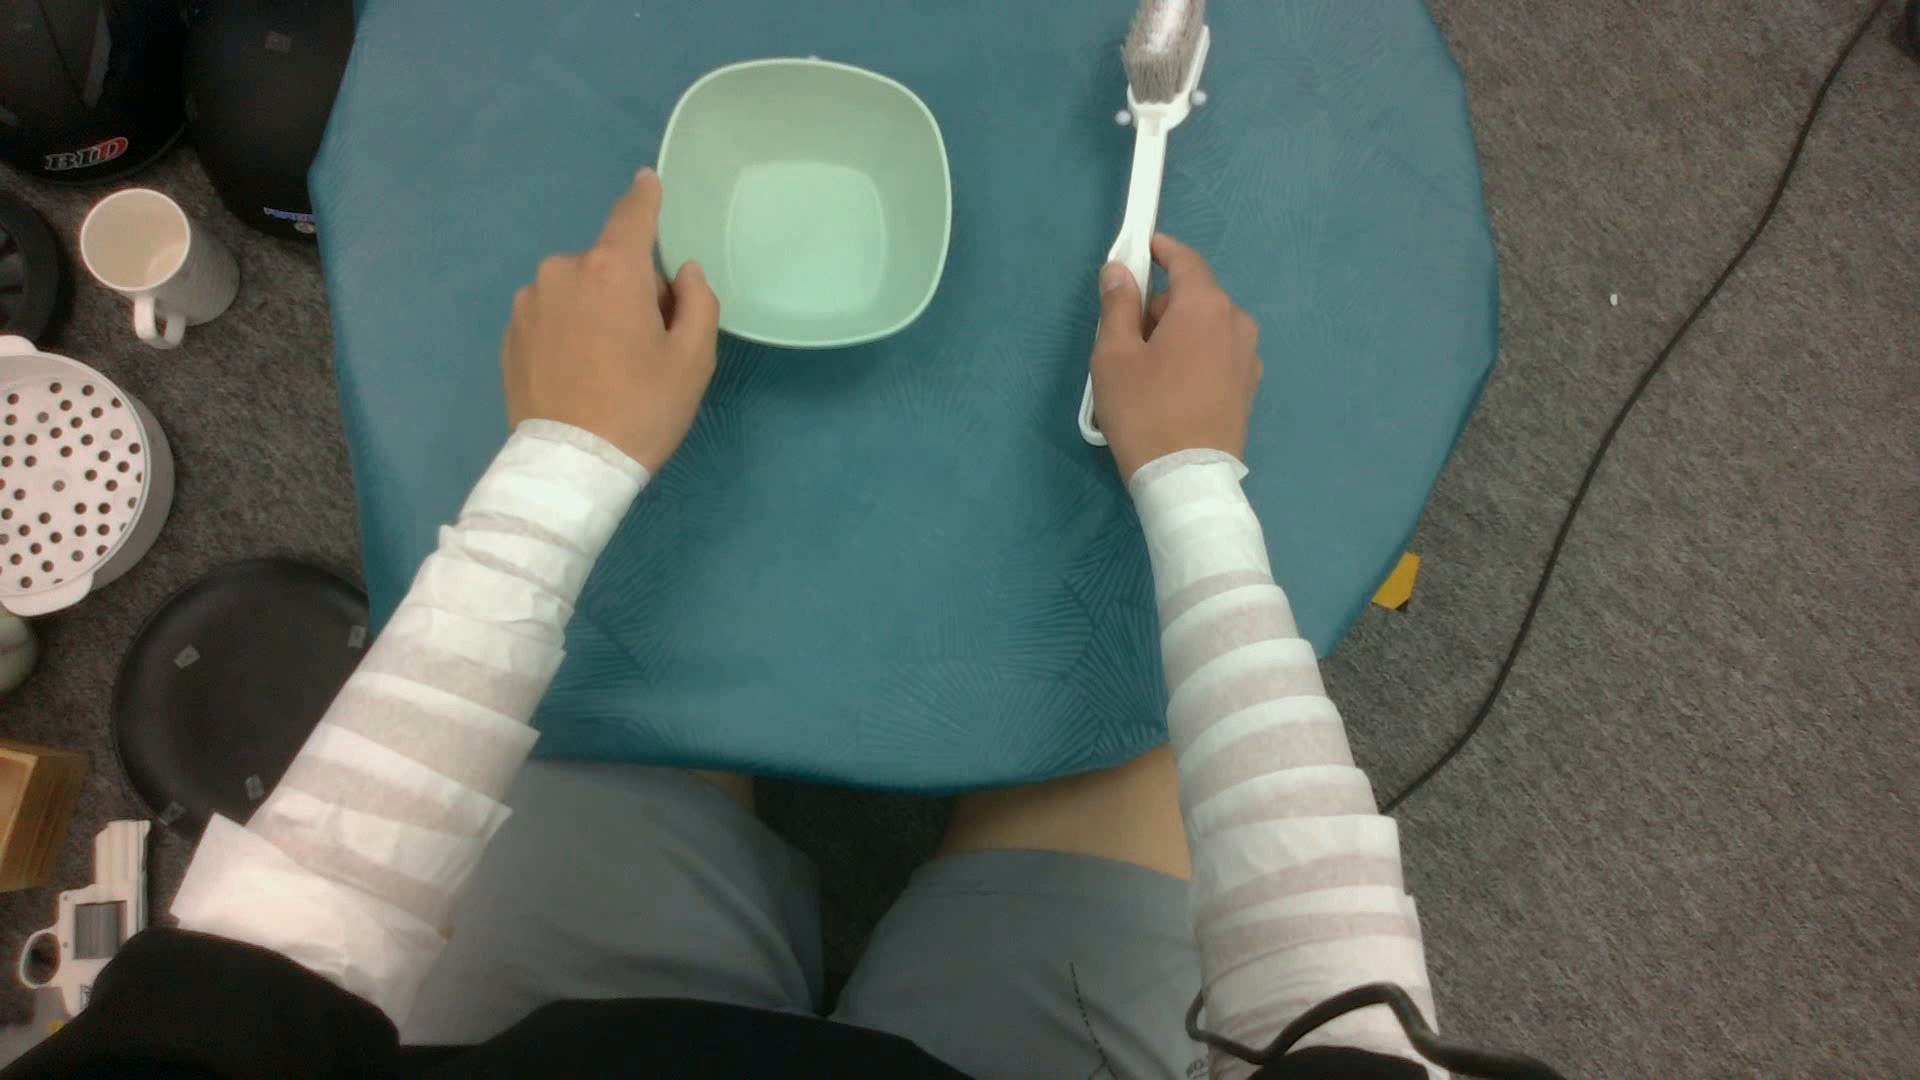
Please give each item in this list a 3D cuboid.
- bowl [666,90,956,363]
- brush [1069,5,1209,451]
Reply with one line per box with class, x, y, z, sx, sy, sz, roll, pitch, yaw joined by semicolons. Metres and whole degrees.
bowl;-0.073;-0.148;0.689;0.151;0.058;0.151;1;79;-3
brush;0.087;-0.165;0.702;0.034;0.050;0.244;9;75;22
